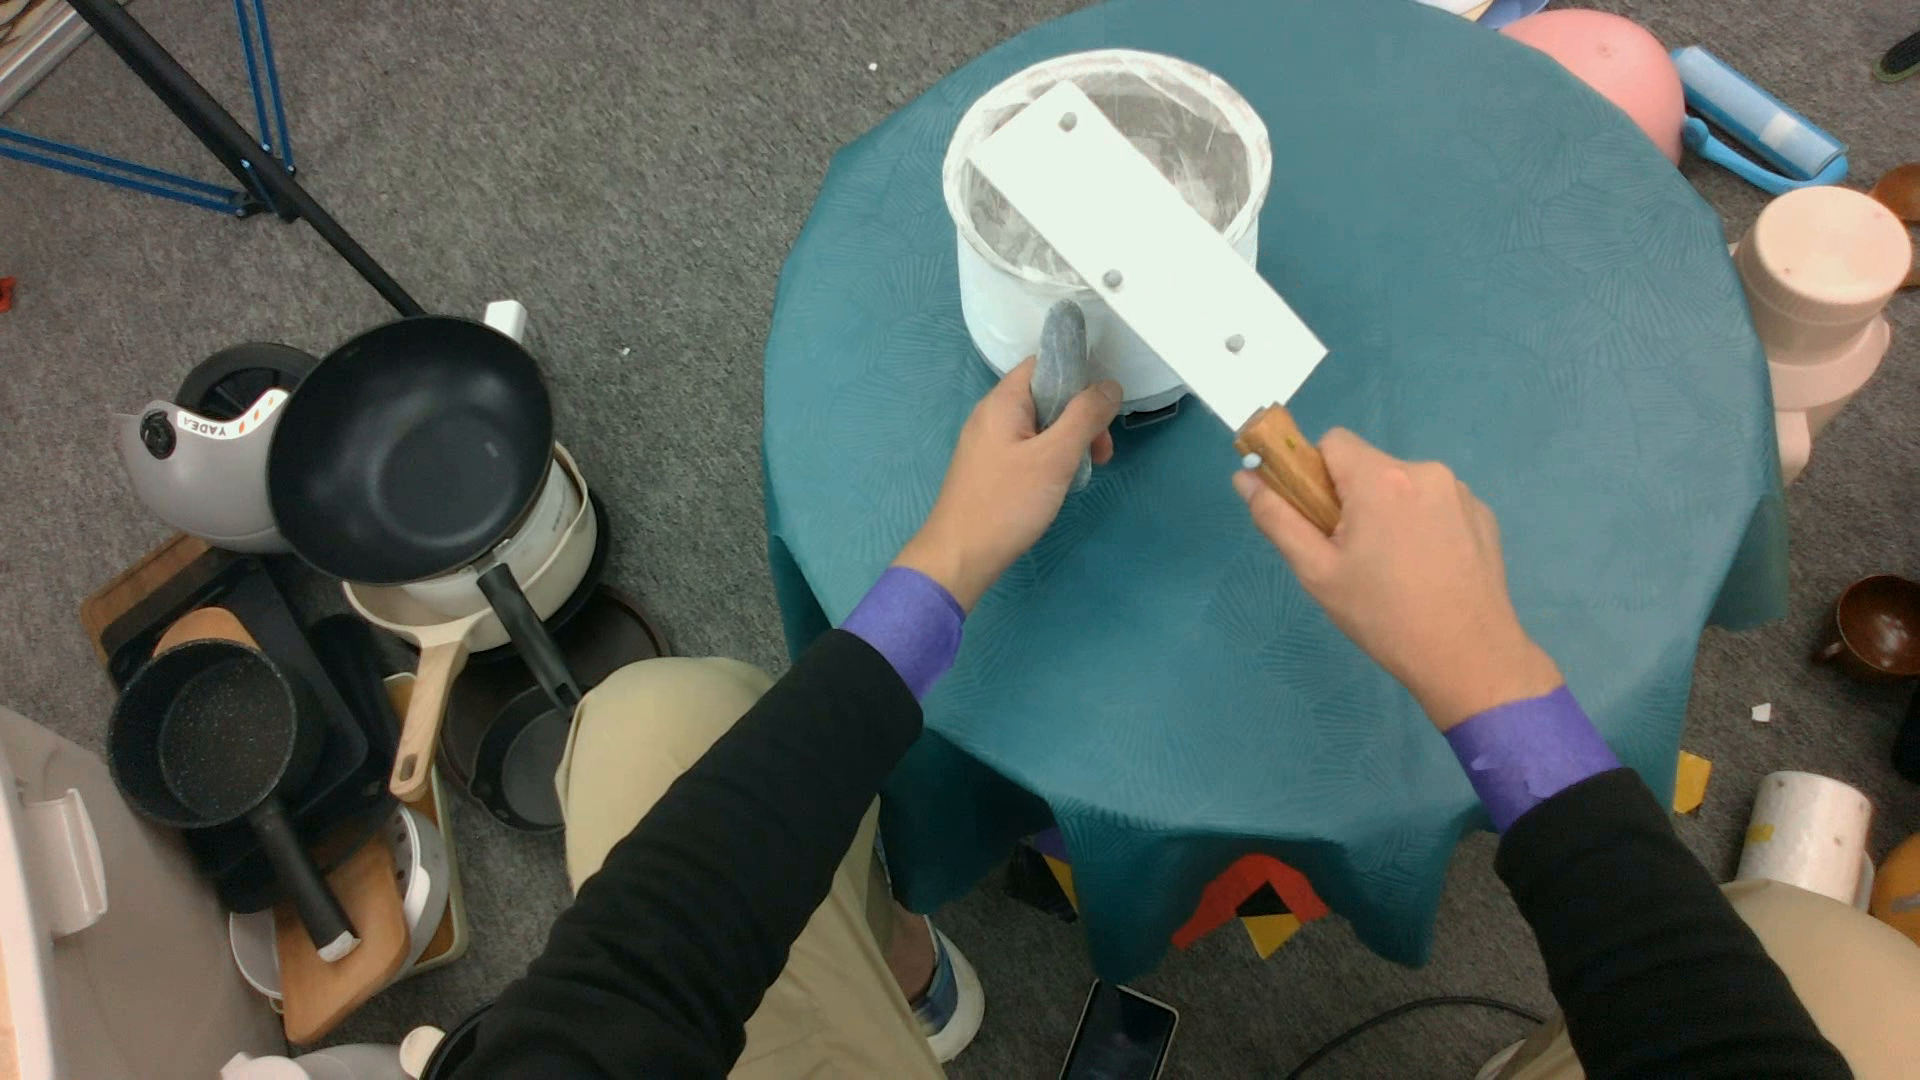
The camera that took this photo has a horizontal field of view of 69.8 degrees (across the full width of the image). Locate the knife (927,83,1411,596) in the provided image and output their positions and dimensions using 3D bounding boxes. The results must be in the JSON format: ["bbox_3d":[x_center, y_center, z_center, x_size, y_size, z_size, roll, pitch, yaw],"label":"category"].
[{"bbox_3d":[0.114,-0.102,0.665,0.305,0.021,0.093,44,55,-4],"label":"knife"}]

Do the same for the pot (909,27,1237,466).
[{"bbox_3d":[0.061,-0.163,0.787,0.178,0.136,0.235,7,61,10],"label":"pot"}]
